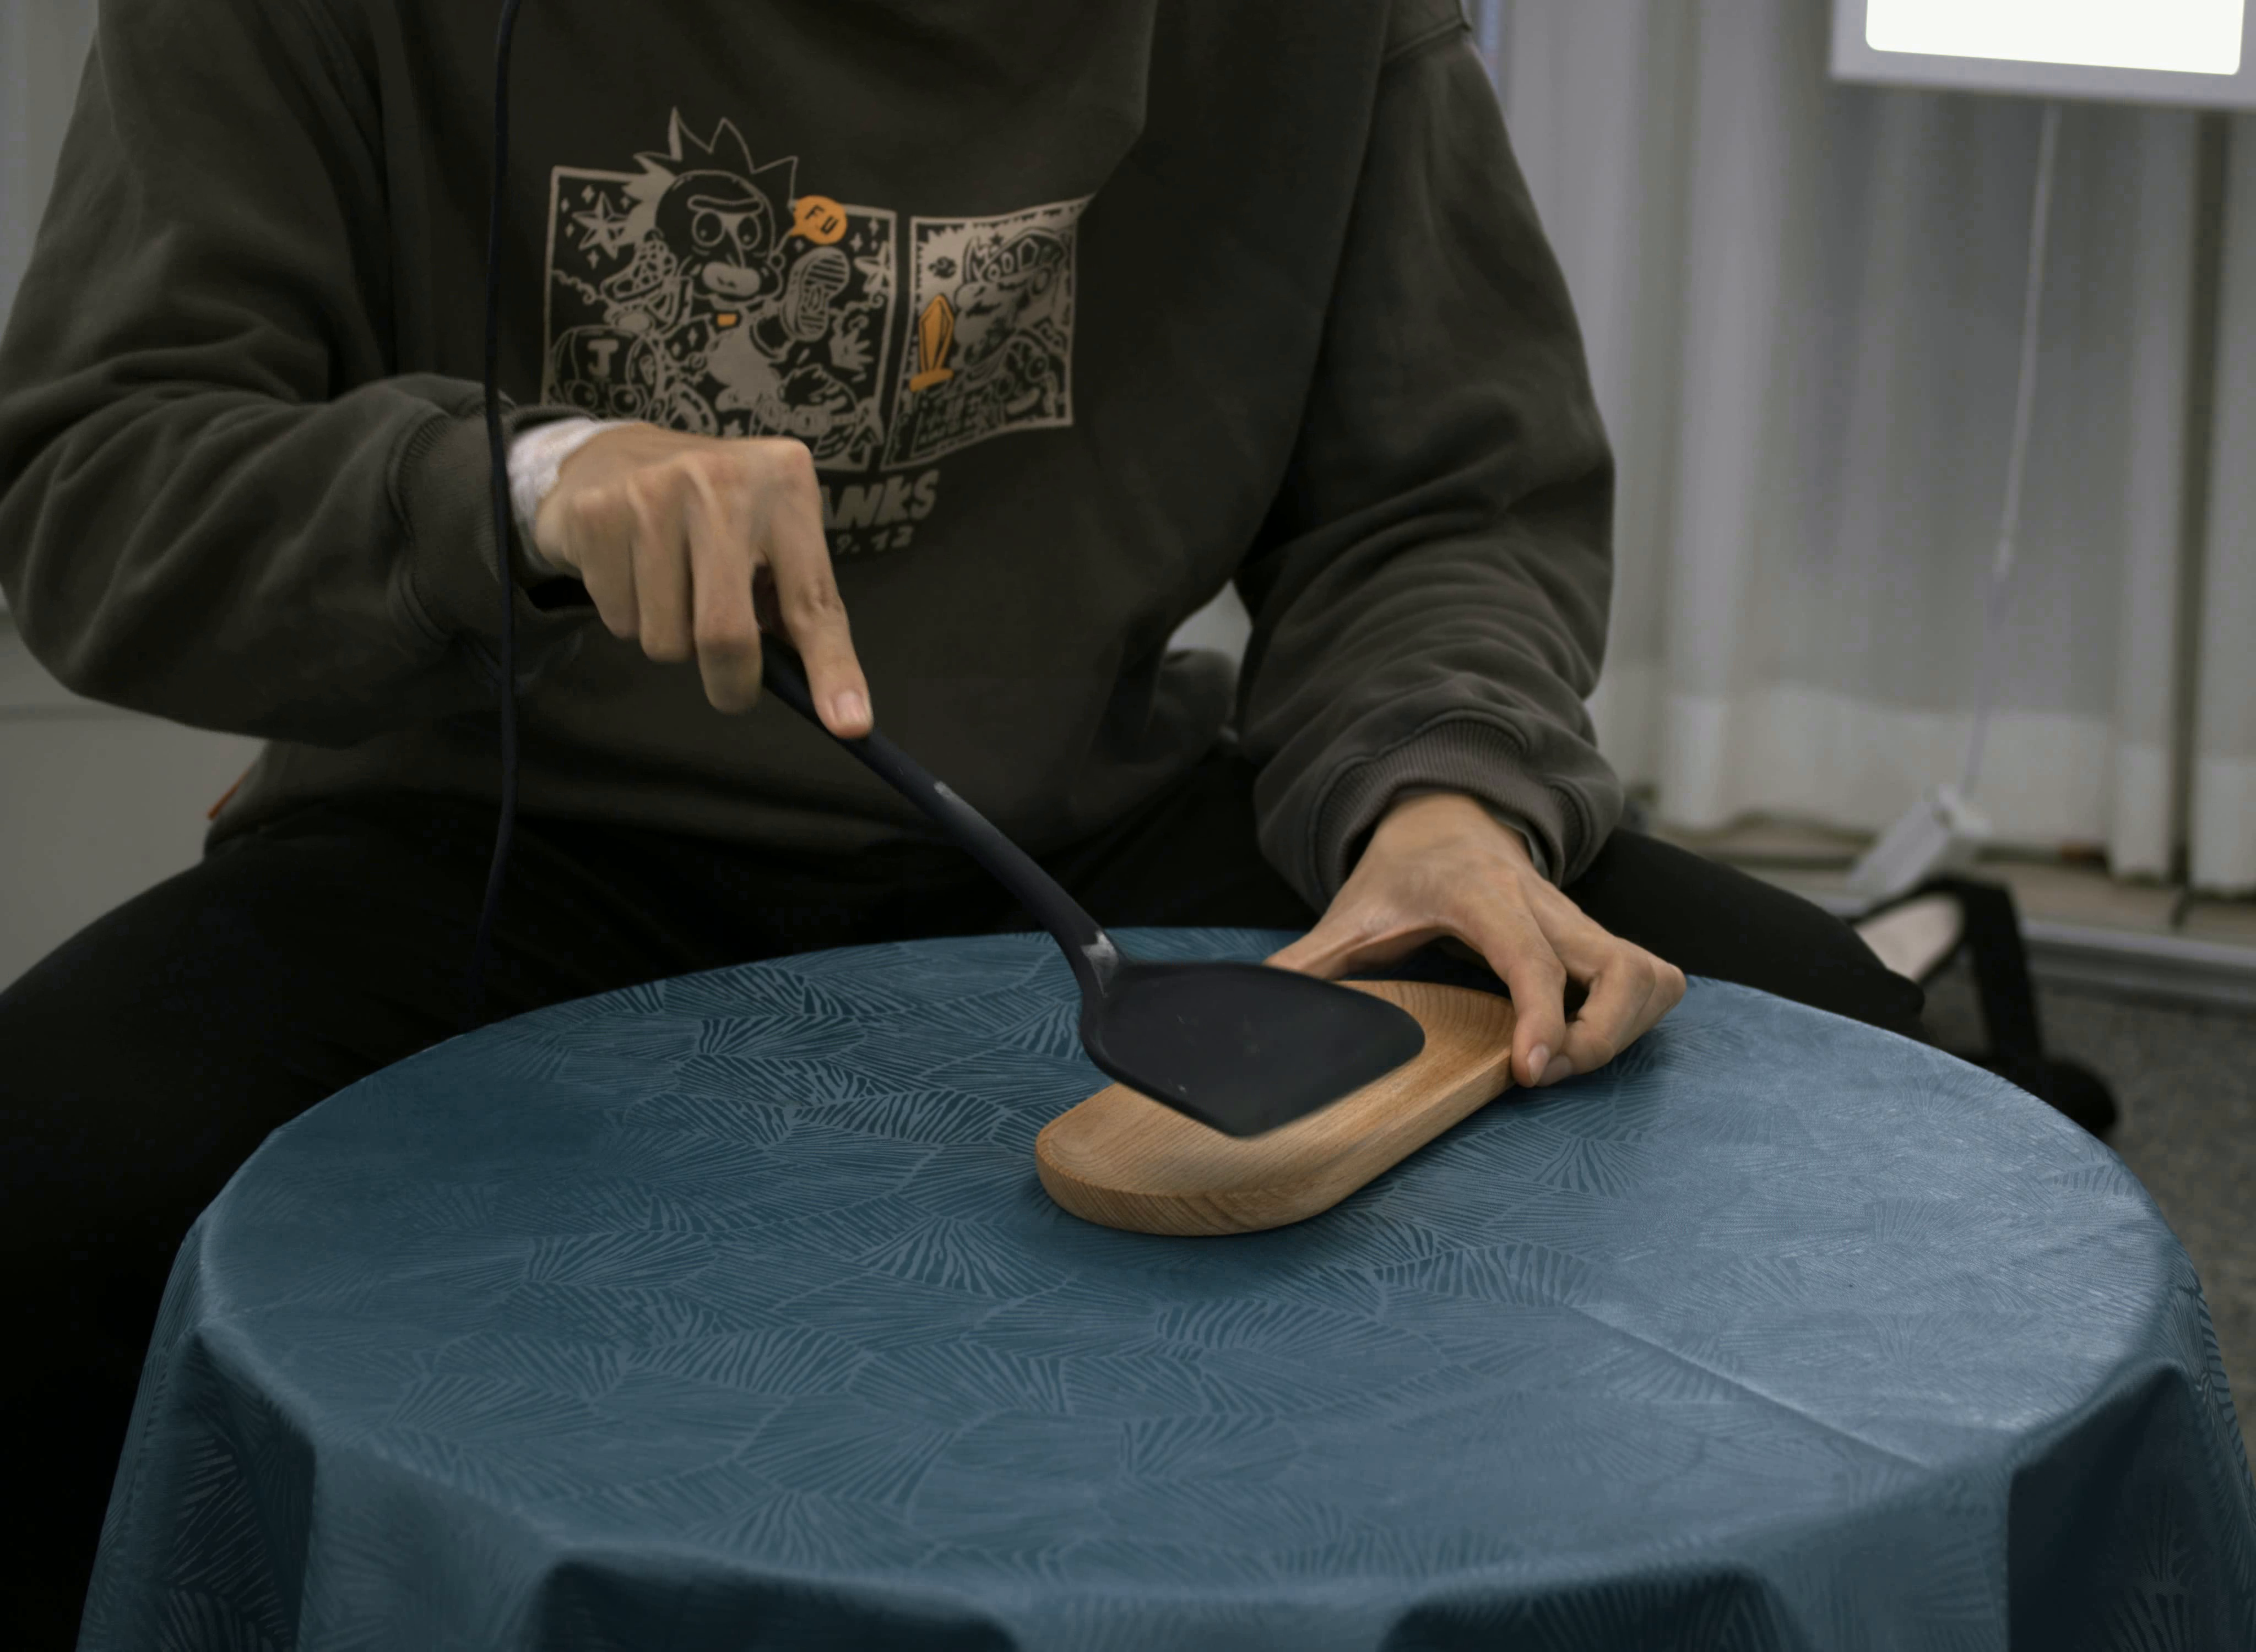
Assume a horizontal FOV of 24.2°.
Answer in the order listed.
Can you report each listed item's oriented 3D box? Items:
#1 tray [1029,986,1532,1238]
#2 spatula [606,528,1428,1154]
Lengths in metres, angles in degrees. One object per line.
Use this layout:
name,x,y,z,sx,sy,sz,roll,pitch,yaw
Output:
tray,0.051,0.090,1.685,0.100,0.020,0.232,8,18,28
spatula,-0.050,-0.003,1.646,0.323,0.040,0.100,42,39,19
